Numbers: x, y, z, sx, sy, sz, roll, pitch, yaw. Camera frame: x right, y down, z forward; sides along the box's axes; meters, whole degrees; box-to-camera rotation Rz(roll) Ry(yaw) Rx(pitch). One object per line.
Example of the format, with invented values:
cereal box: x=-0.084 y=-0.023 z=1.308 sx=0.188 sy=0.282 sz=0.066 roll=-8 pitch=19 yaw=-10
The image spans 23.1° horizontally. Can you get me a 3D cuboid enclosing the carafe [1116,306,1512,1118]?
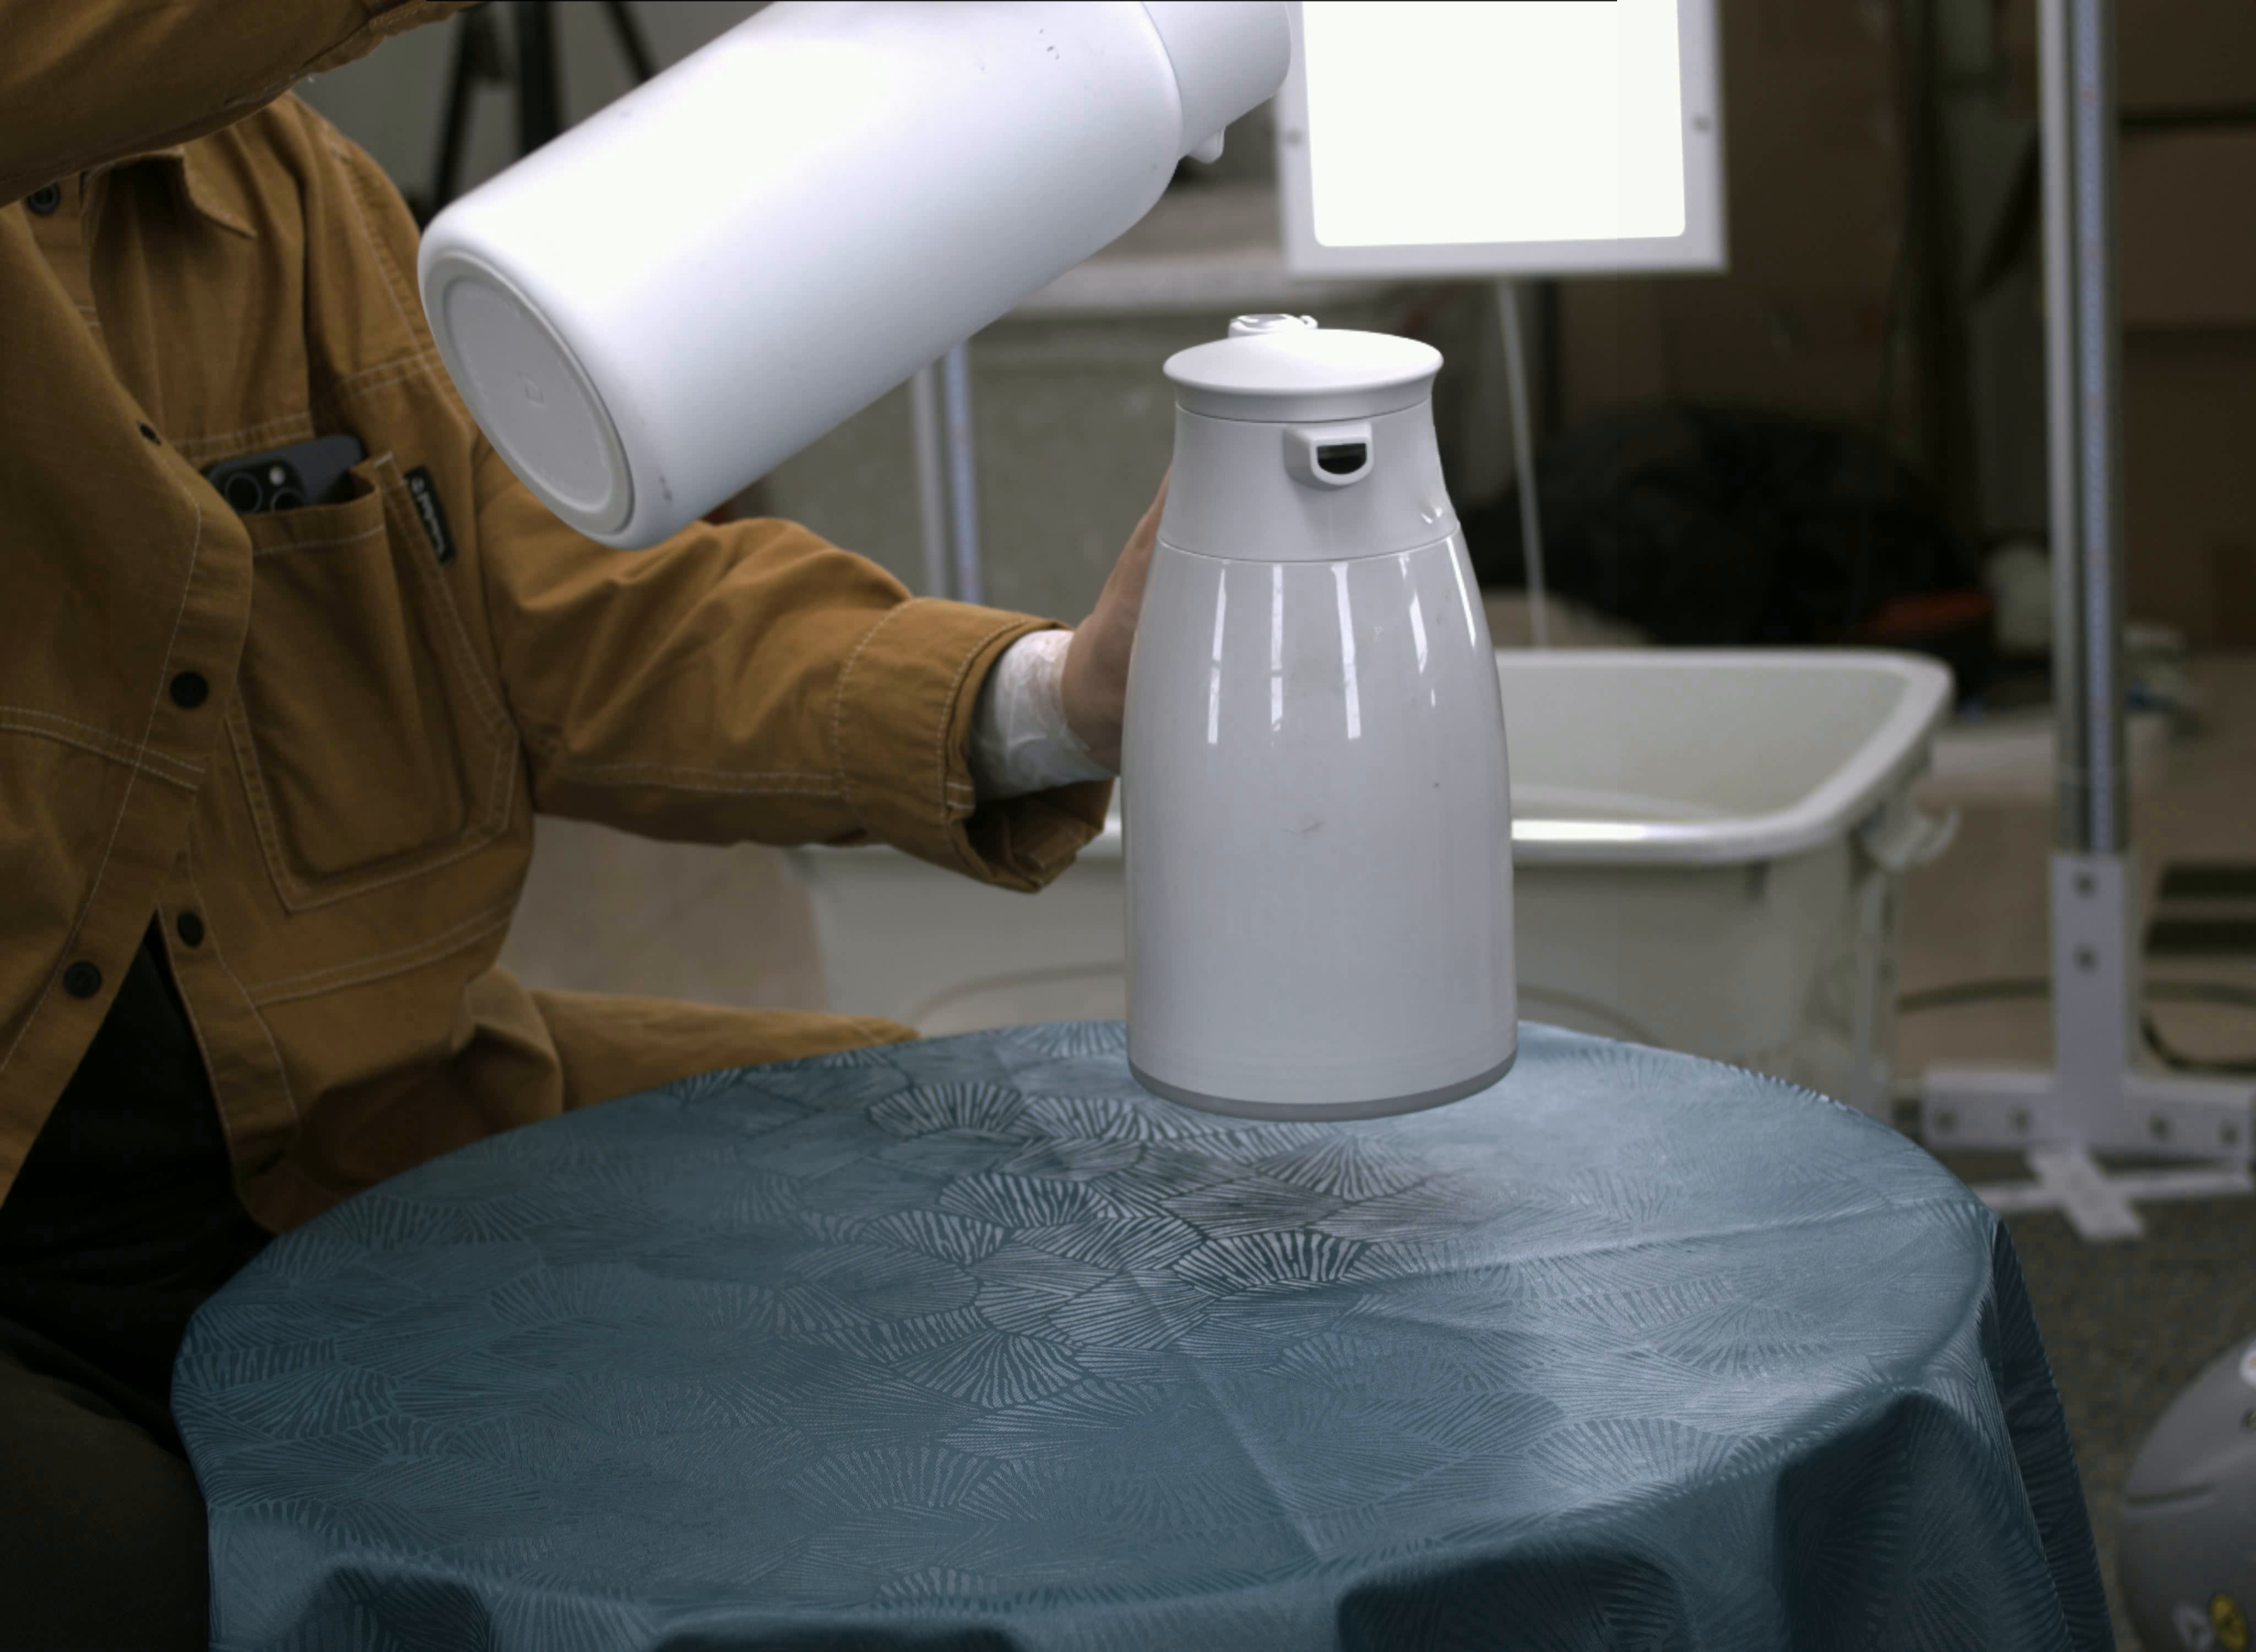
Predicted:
carafe: x=0.055 y=-0.046 z=1.832 sx=0.131 sy=0.250 sz=0.168 roll=-5 pitch=15 yaw=-8

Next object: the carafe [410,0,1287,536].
carafe: x=-0.083 y=-0.214 z=1.659 sx=0.264 sy=0.172 sz=0.126 roll=-33 pitch=42 yaw=-20
